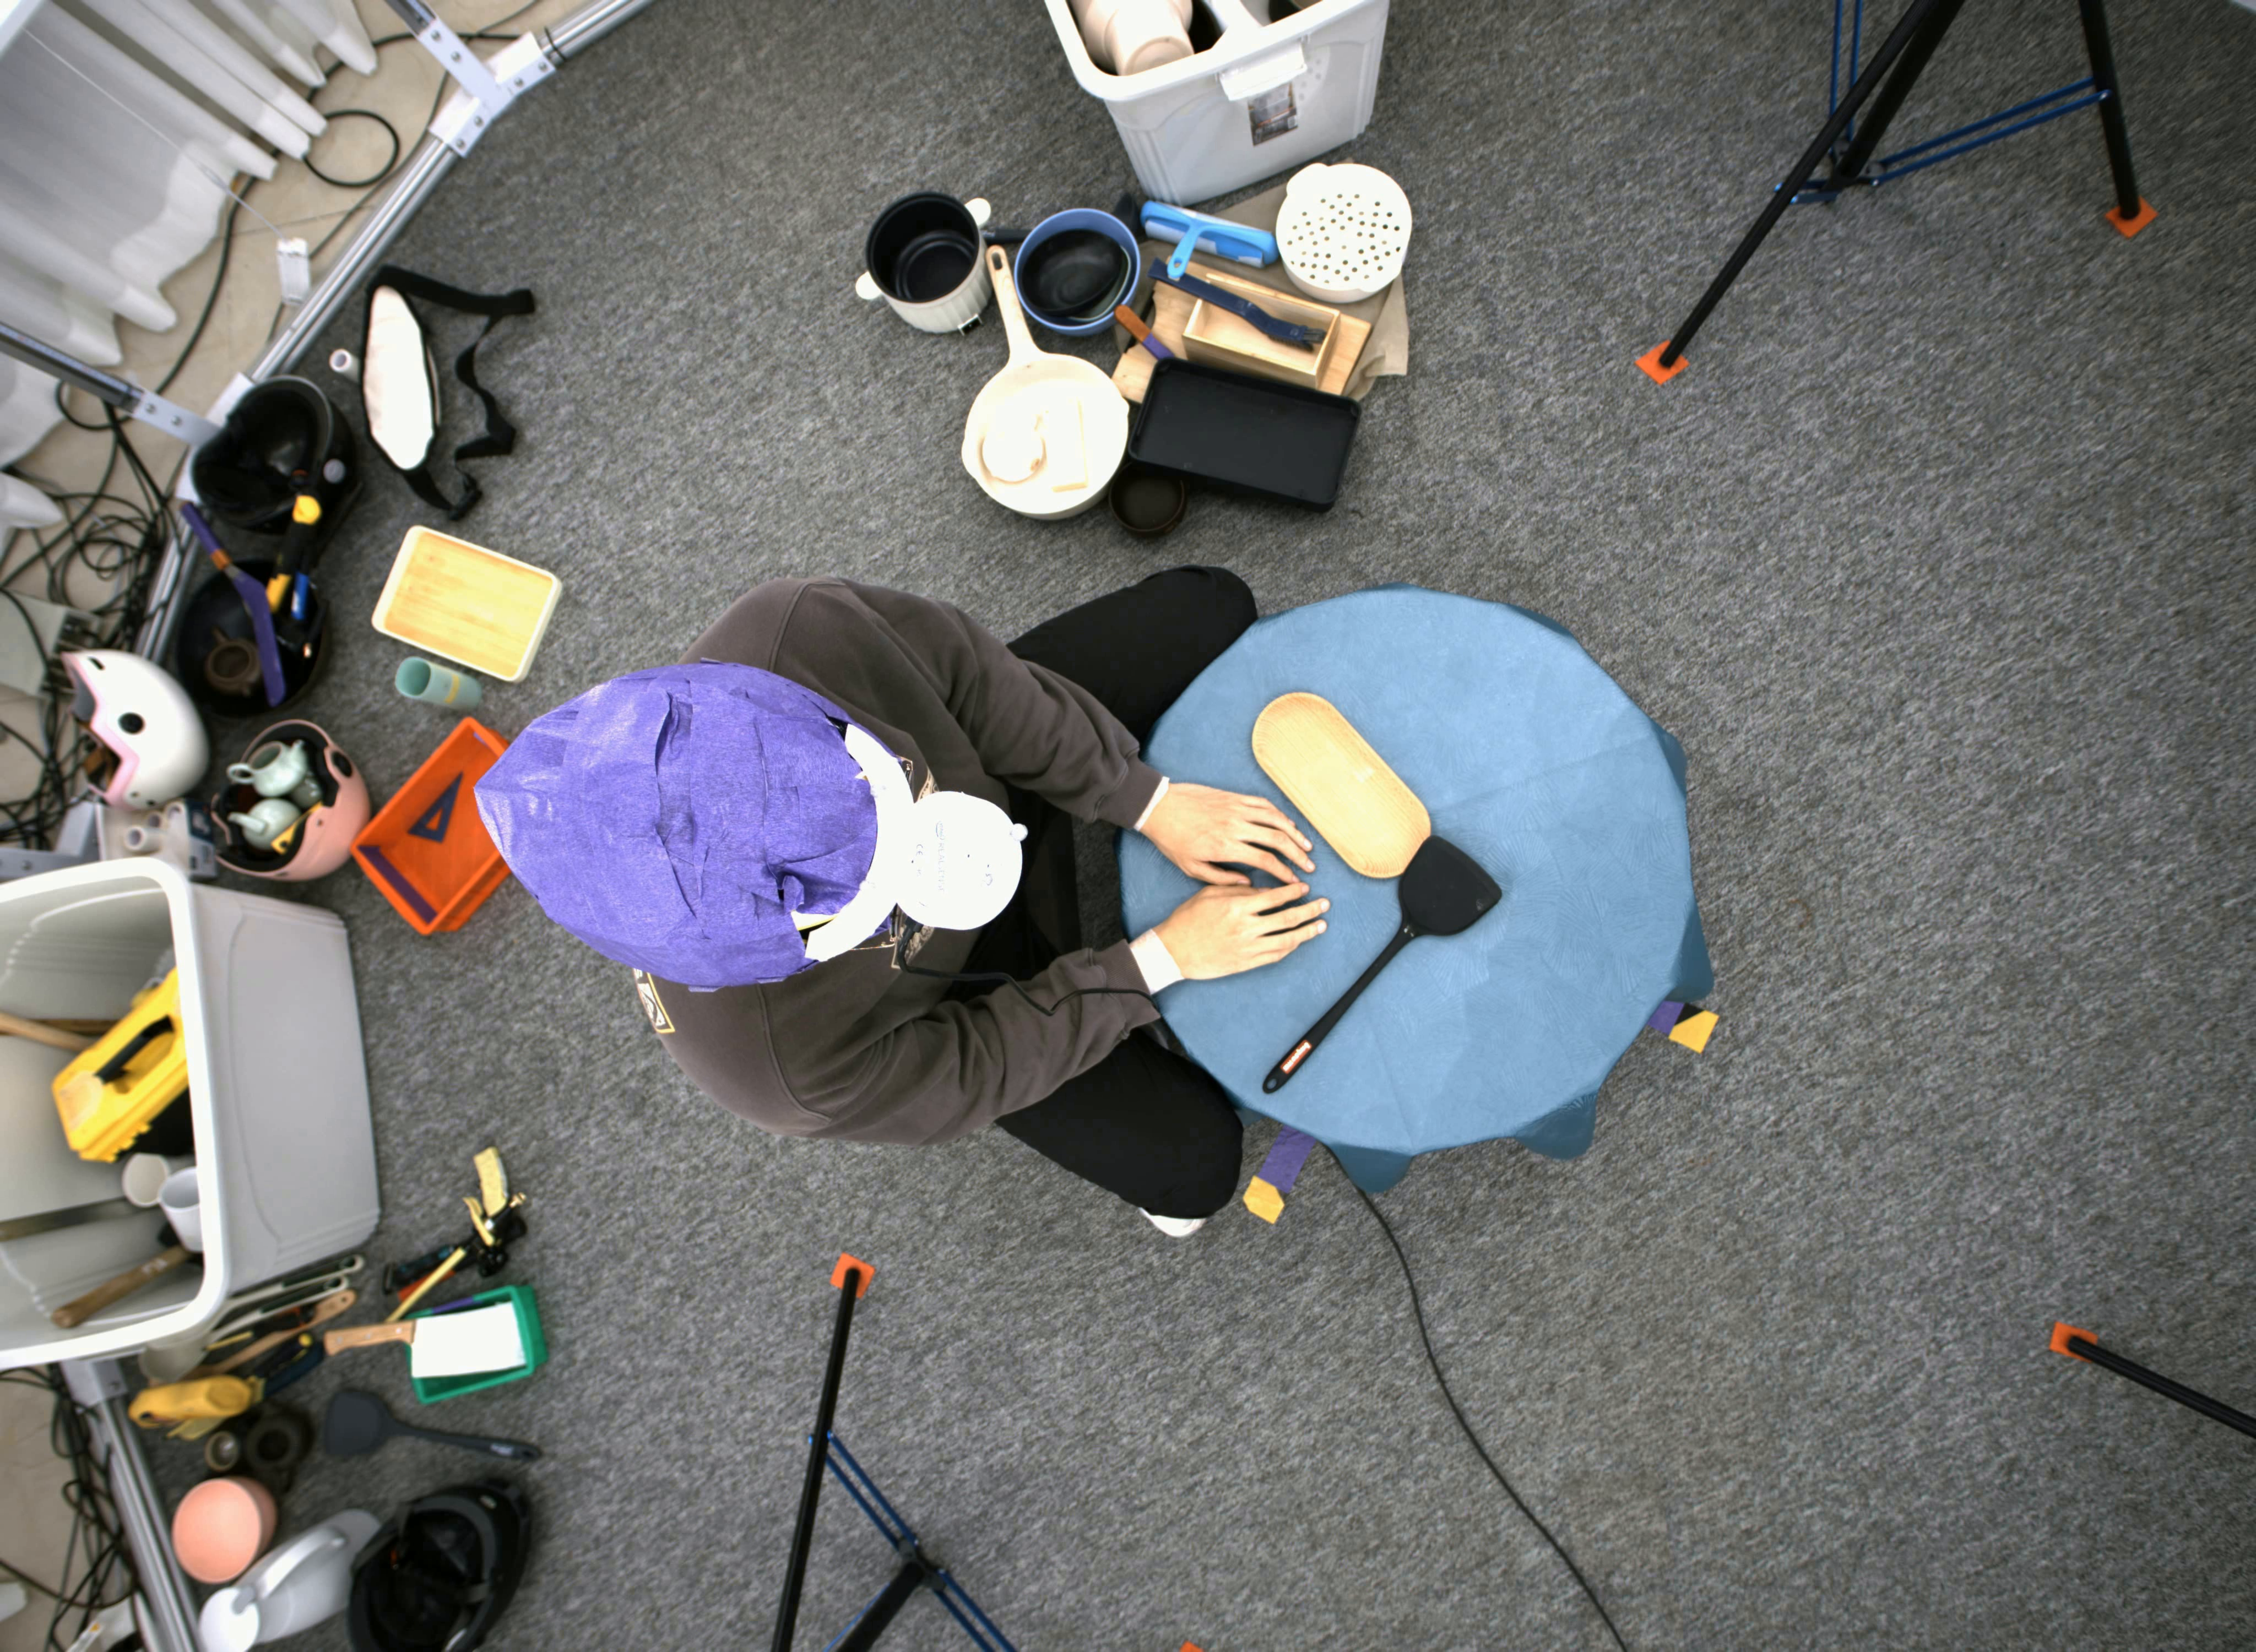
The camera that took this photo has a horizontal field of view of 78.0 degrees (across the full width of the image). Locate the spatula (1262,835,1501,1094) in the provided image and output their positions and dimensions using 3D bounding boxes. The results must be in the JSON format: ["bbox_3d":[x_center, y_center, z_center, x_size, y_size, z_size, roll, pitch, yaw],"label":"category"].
[{"bbox_3d":[0.248,0.156,1.439,0.099,0.040,0.327,42,95,11],"label":"spatula"}]

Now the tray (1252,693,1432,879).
[{"bbox_3d":[0.226,-0.044,1.463,0.102,0.020,0.230,-42,82,6],"label":"tray"}]
